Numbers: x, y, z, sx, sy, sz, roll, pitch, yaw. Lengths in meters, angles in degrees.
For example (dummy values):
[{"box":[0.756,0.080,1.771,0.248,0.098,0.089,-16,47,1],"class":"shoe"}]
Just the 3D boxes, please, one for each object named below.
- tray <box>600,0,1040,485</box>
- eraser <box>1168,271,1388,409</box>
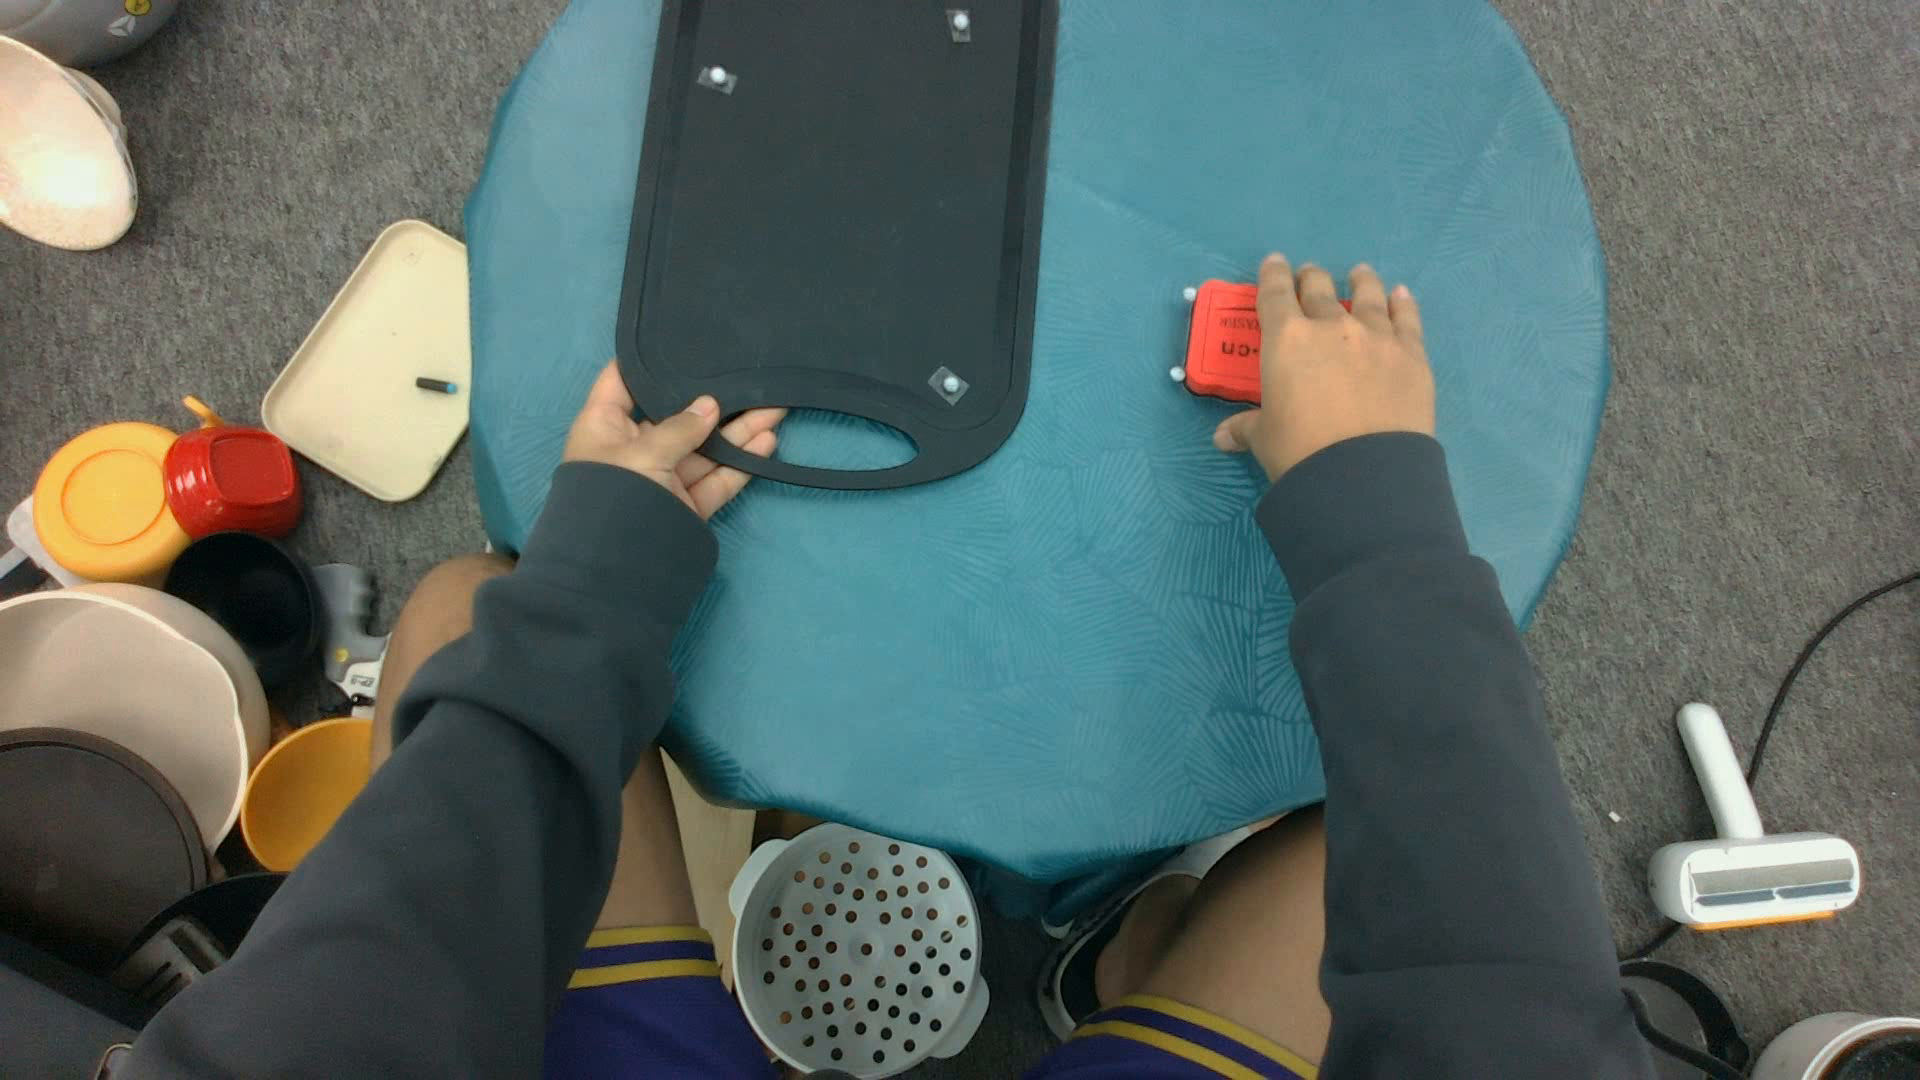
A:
[{"box":[-0.067,-0.187,0.718,0.211,0.010,0.326,6,77,-7],"class":"tray"},{"box":[0.164,-0.103,0.711,0.108,0.023,0.059,8,77,0],"class":"eraser"}]
